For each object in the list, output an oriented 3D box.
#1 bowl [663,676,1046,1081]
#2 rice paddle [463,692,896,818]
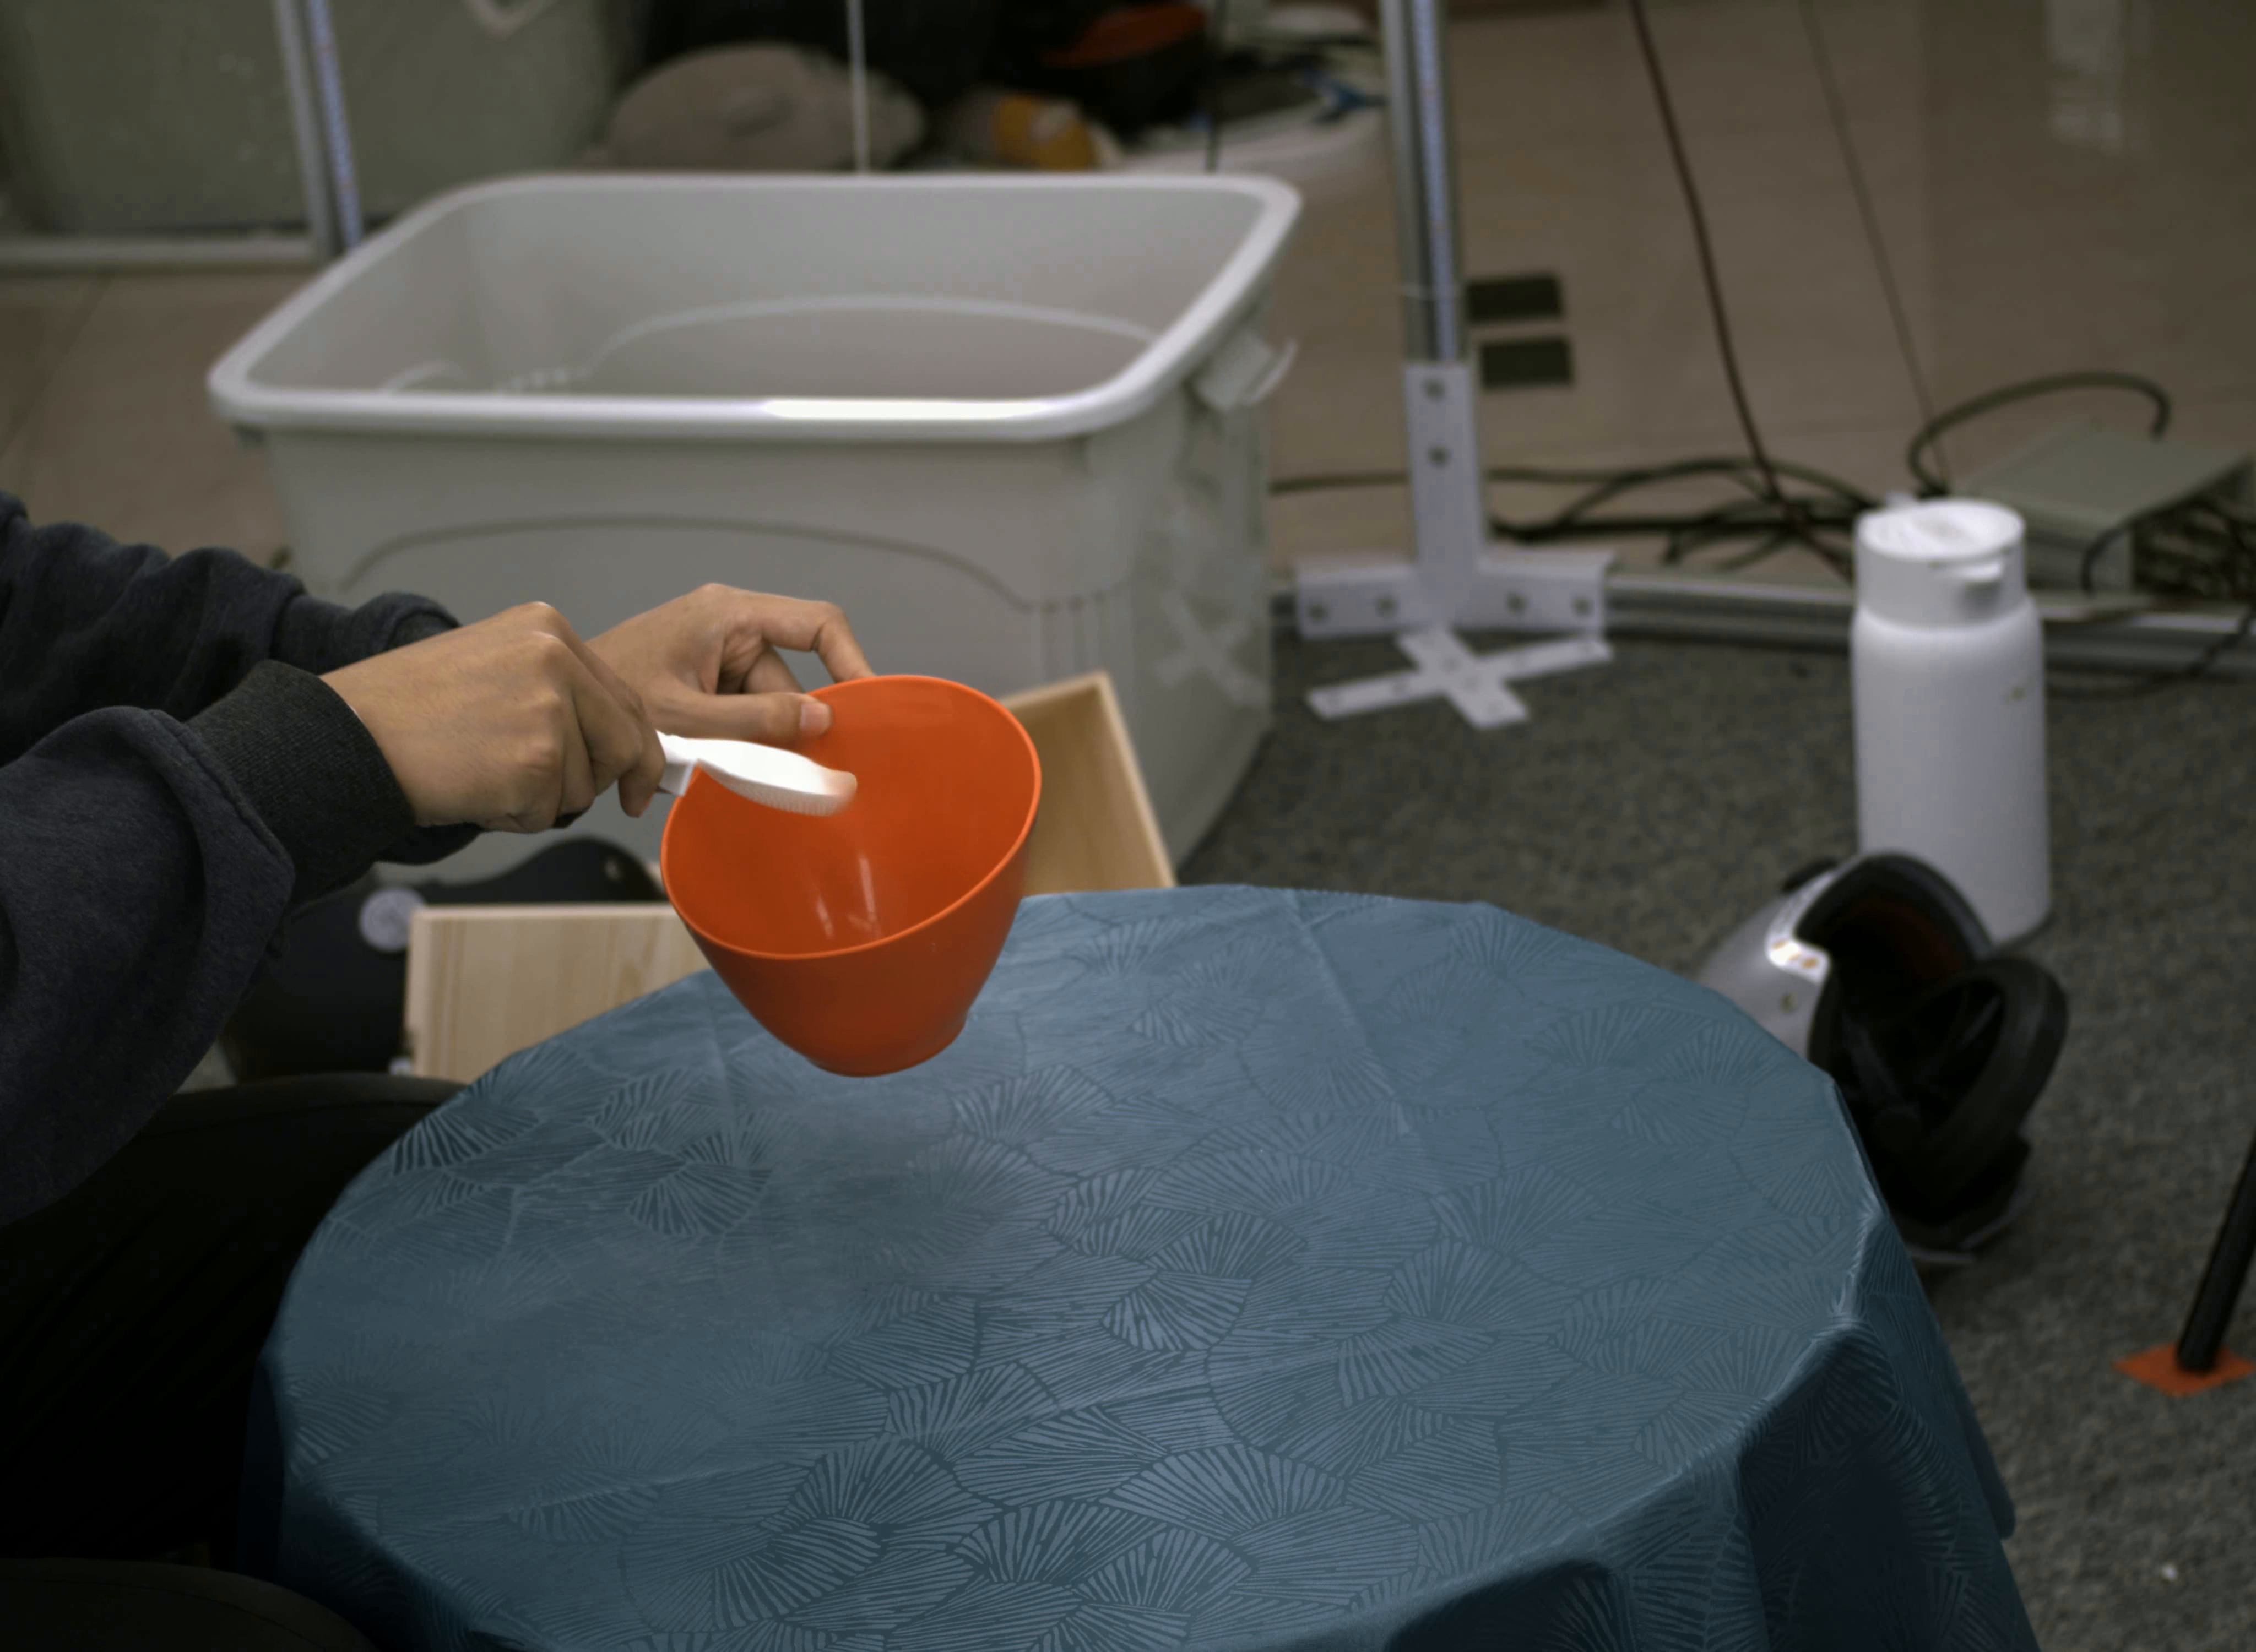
[{"bbox_3d":[-0.096,0.028,2.134,0.148,0.106,0.145,-8,37,6],"label":"bowl"},{"bbox_3d":[-0.159,-0.025,2.056,0.068,0.029,0.205,26,11,37],"label":"rice paddle"}]
